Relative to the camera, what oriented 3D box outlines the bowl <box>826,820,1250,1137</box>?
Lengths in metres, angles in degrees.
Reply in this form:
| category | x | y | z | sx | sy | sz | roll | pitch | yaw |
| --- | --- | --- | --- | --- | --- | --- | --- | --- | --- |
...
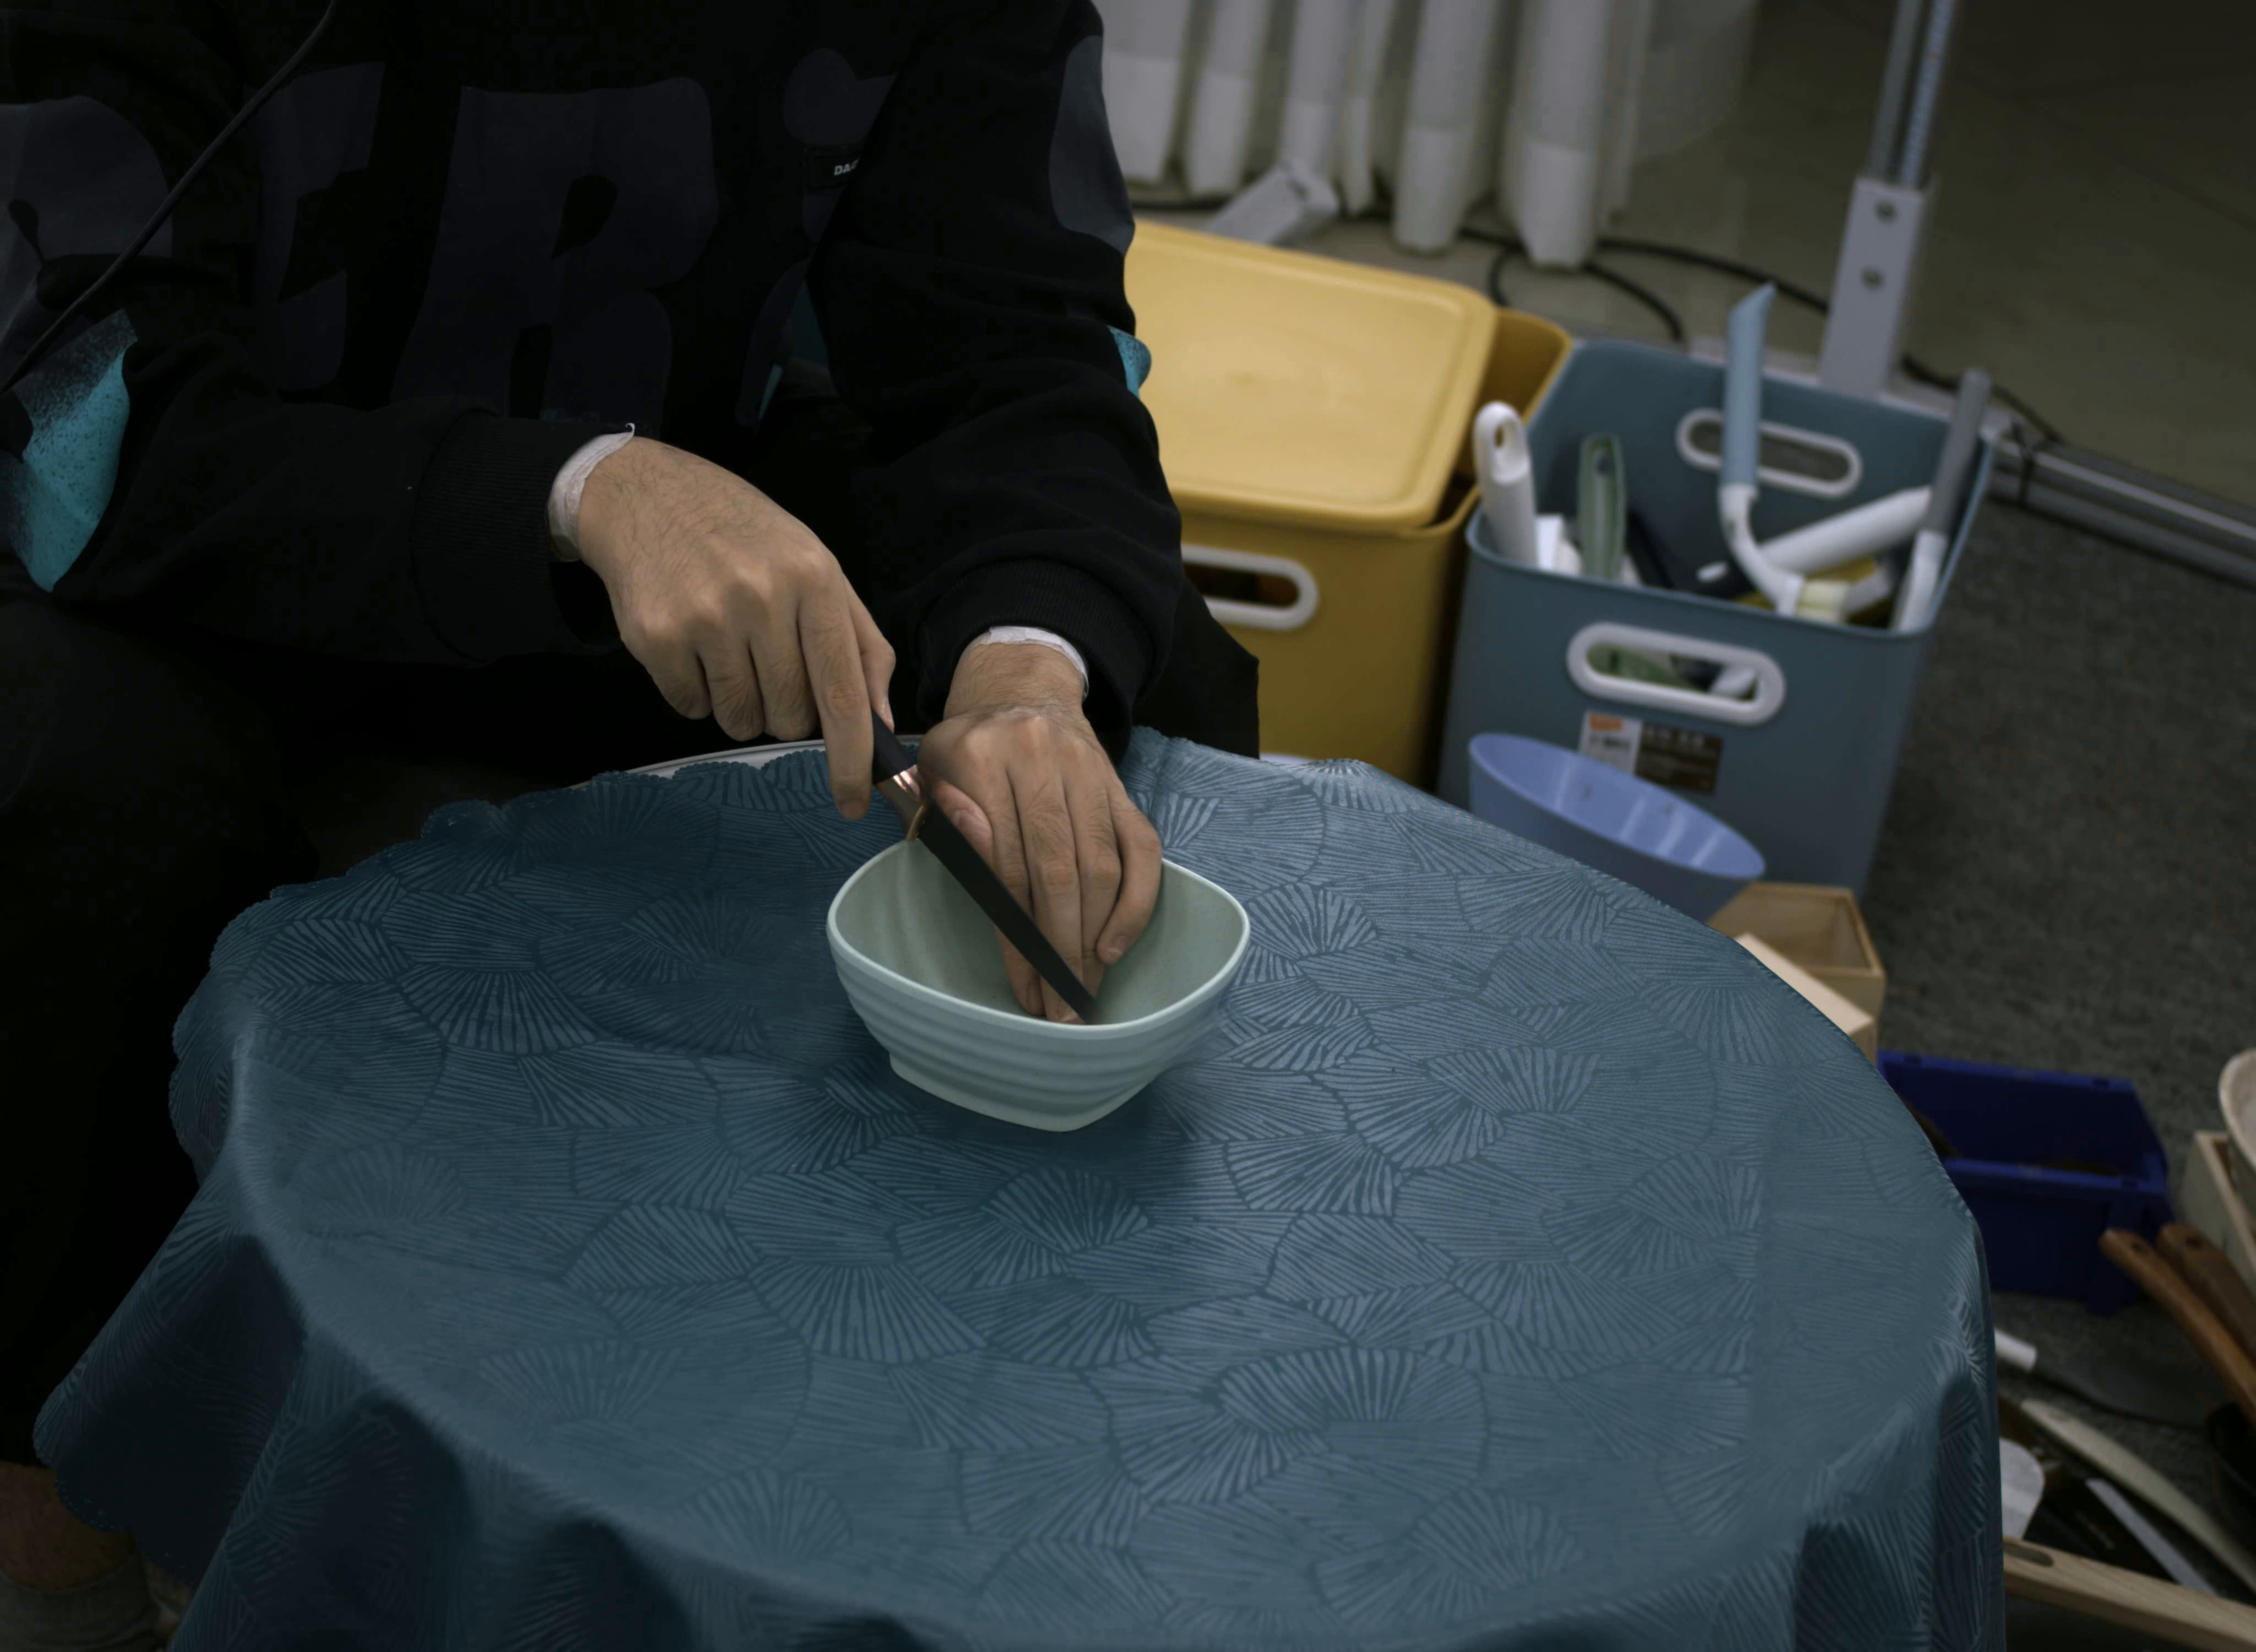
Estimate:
| category | x | y | z | sx | sy | sz | roll | pitch | yaw |
| --- | --- | --- | --- | --- | --- | --- | --- | --- | --- |
| bowl | -0.033 | 0.059 | 1.862 | 0.151 | 0.058 | 0.152 | 4 | 28 | -3 |

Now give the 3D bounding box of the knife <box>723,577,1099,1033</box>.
| category | x | y | z | sx | sy | sz | roll | pitch | yaw |
| --- | --- | --- | --- | --- | --- | --- | --- | --- | --- |
| knife | -0.070 | 0.000 | 1.871 | 0.017 | 0.026 | 0.226 | -29 | 73 | -40 |
